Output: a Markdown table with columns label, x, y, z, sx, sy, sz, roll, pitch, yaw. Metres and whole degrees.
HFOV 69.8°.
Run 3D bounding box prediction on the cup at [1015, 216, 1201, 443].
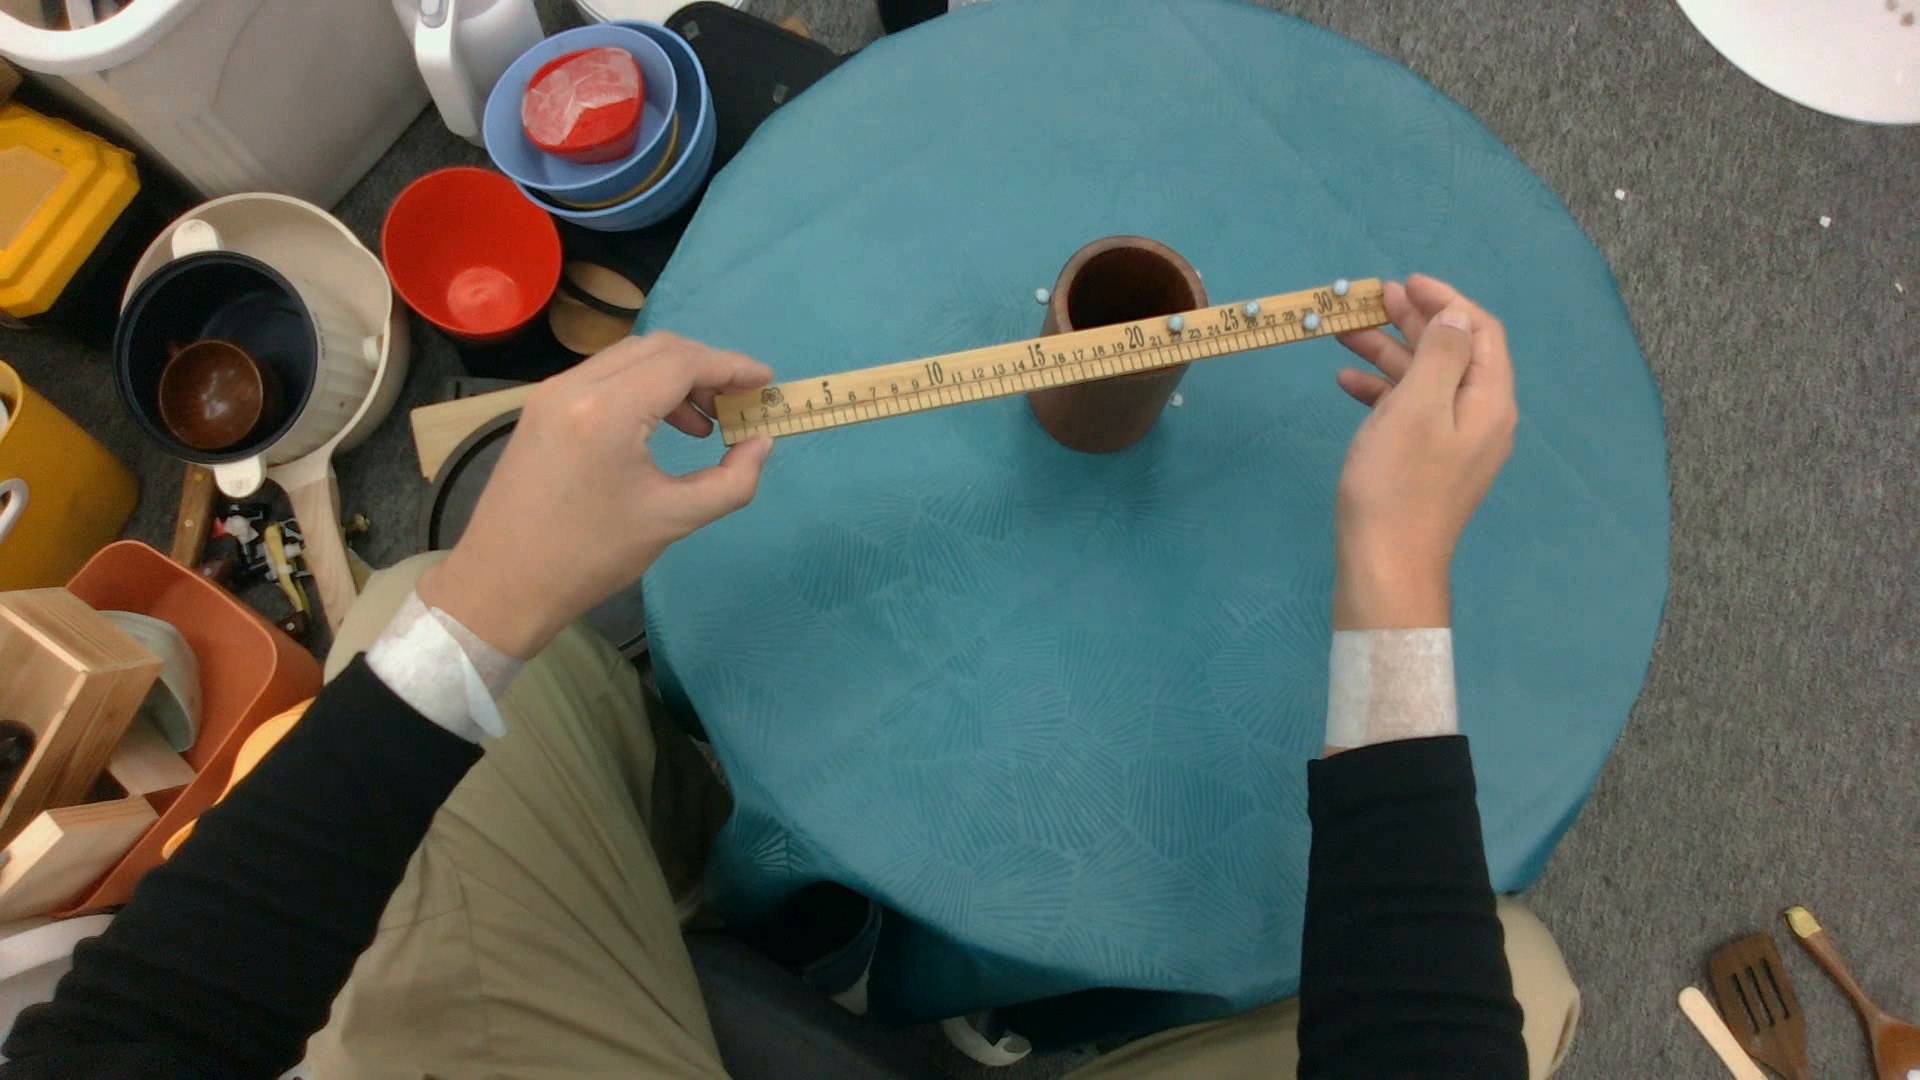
| label | x | y | z | sx | sy | sz | roll | pitch | yaw |
| --- | --- | --- | --- | --- | --- | --- | --- | --- | --- |
| cup | 0.076 | -0.109 | 0.735 | 0.088 | 0.118 | 0.088 | 1 | 74 | -4 |

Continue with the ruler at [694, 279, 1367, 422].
| label | x | y | z | sx | sy | sz | roll | pitch | yaw |
| --- | --- | --- | --- | --- | --- | --- | --- | --- | --- |
| ruler | 0.043 | -0.093 | 0.649 | 0.332 | 0.022 | 0.027 | -10 | 69 | -14 |
